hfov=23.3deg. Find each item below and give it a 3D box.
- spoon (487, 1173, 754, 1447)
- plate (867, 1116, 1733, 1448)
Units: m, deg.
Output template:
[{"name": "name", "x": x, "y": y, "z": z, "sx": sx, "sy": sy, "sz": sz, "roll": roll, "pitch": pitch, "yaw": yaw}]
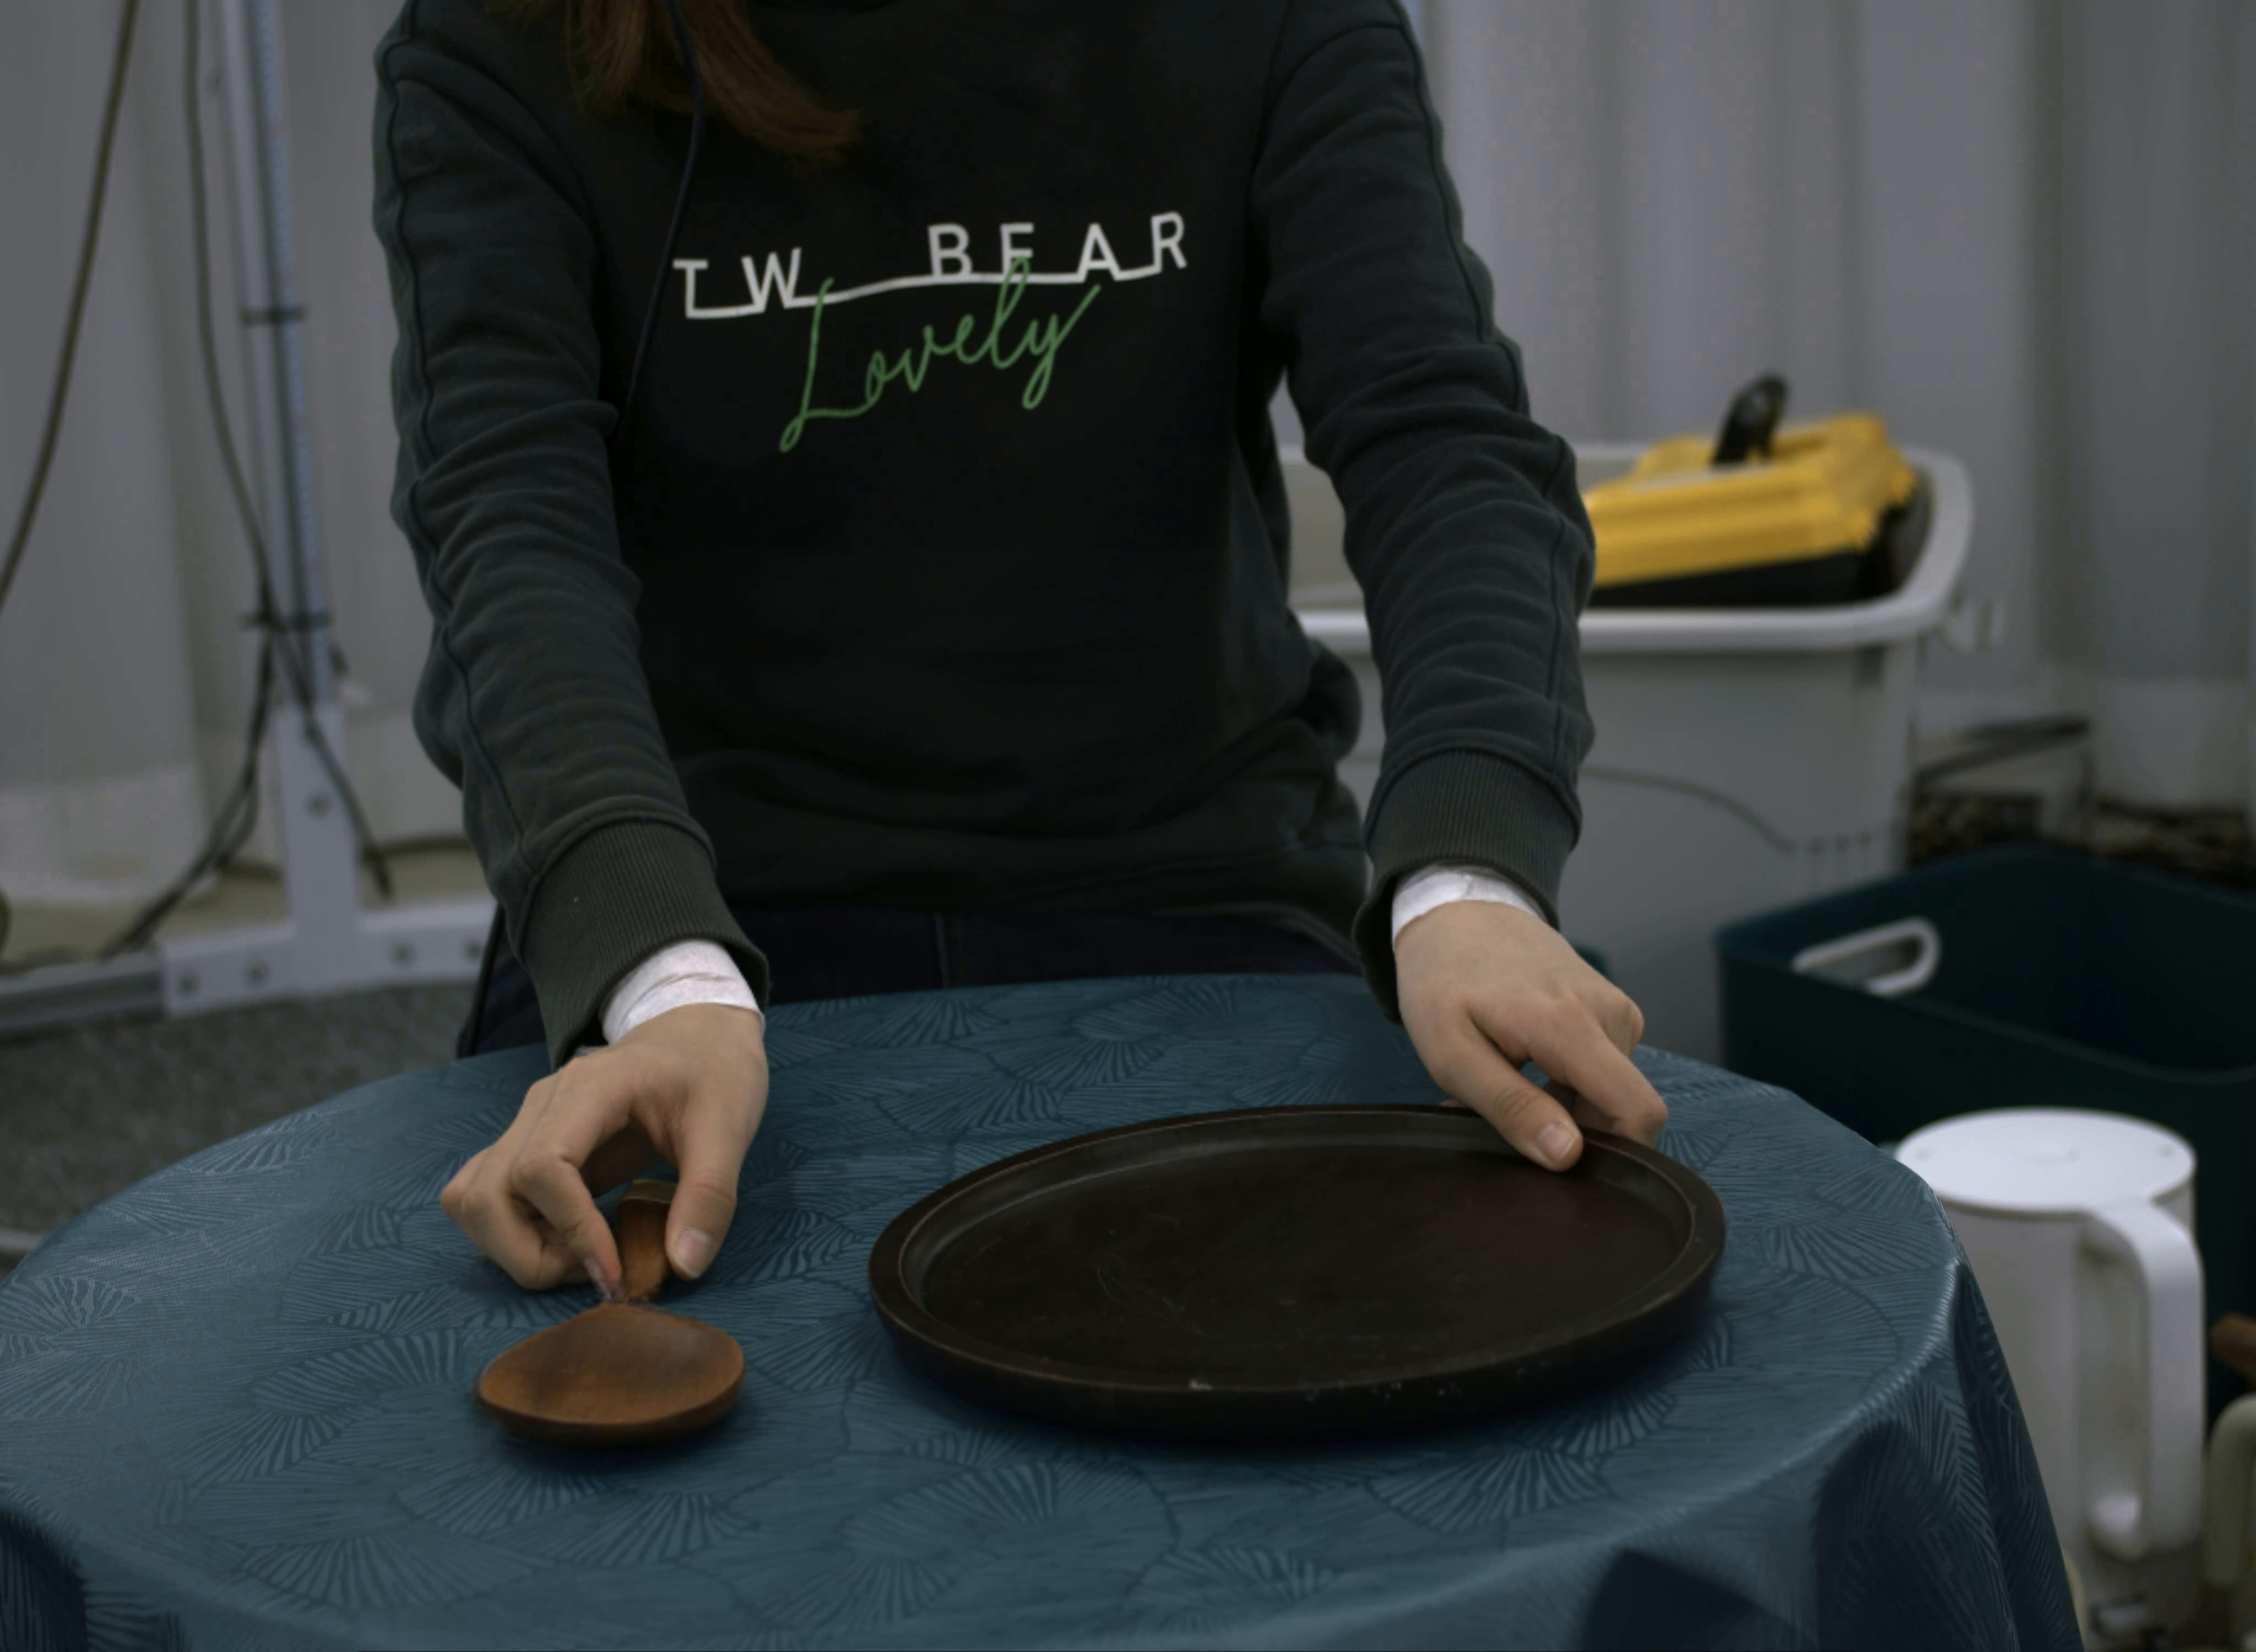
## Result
[{"name": "spoon", "x": -0.144, "y": 0.143, "z": 1.603, "sx": 0.075, "sy": 0.017, "sz": 0.217, "roll": -3, "pitch": 15, "yaw": 0}, {"name": "plate", "x": 0.050, "y": 0.130, "z": 1.599, "sx": 0.254, "sy": 0.029, "sz": 0.256, "roll": -3, "pitch": 15, "yaw": 0}]
